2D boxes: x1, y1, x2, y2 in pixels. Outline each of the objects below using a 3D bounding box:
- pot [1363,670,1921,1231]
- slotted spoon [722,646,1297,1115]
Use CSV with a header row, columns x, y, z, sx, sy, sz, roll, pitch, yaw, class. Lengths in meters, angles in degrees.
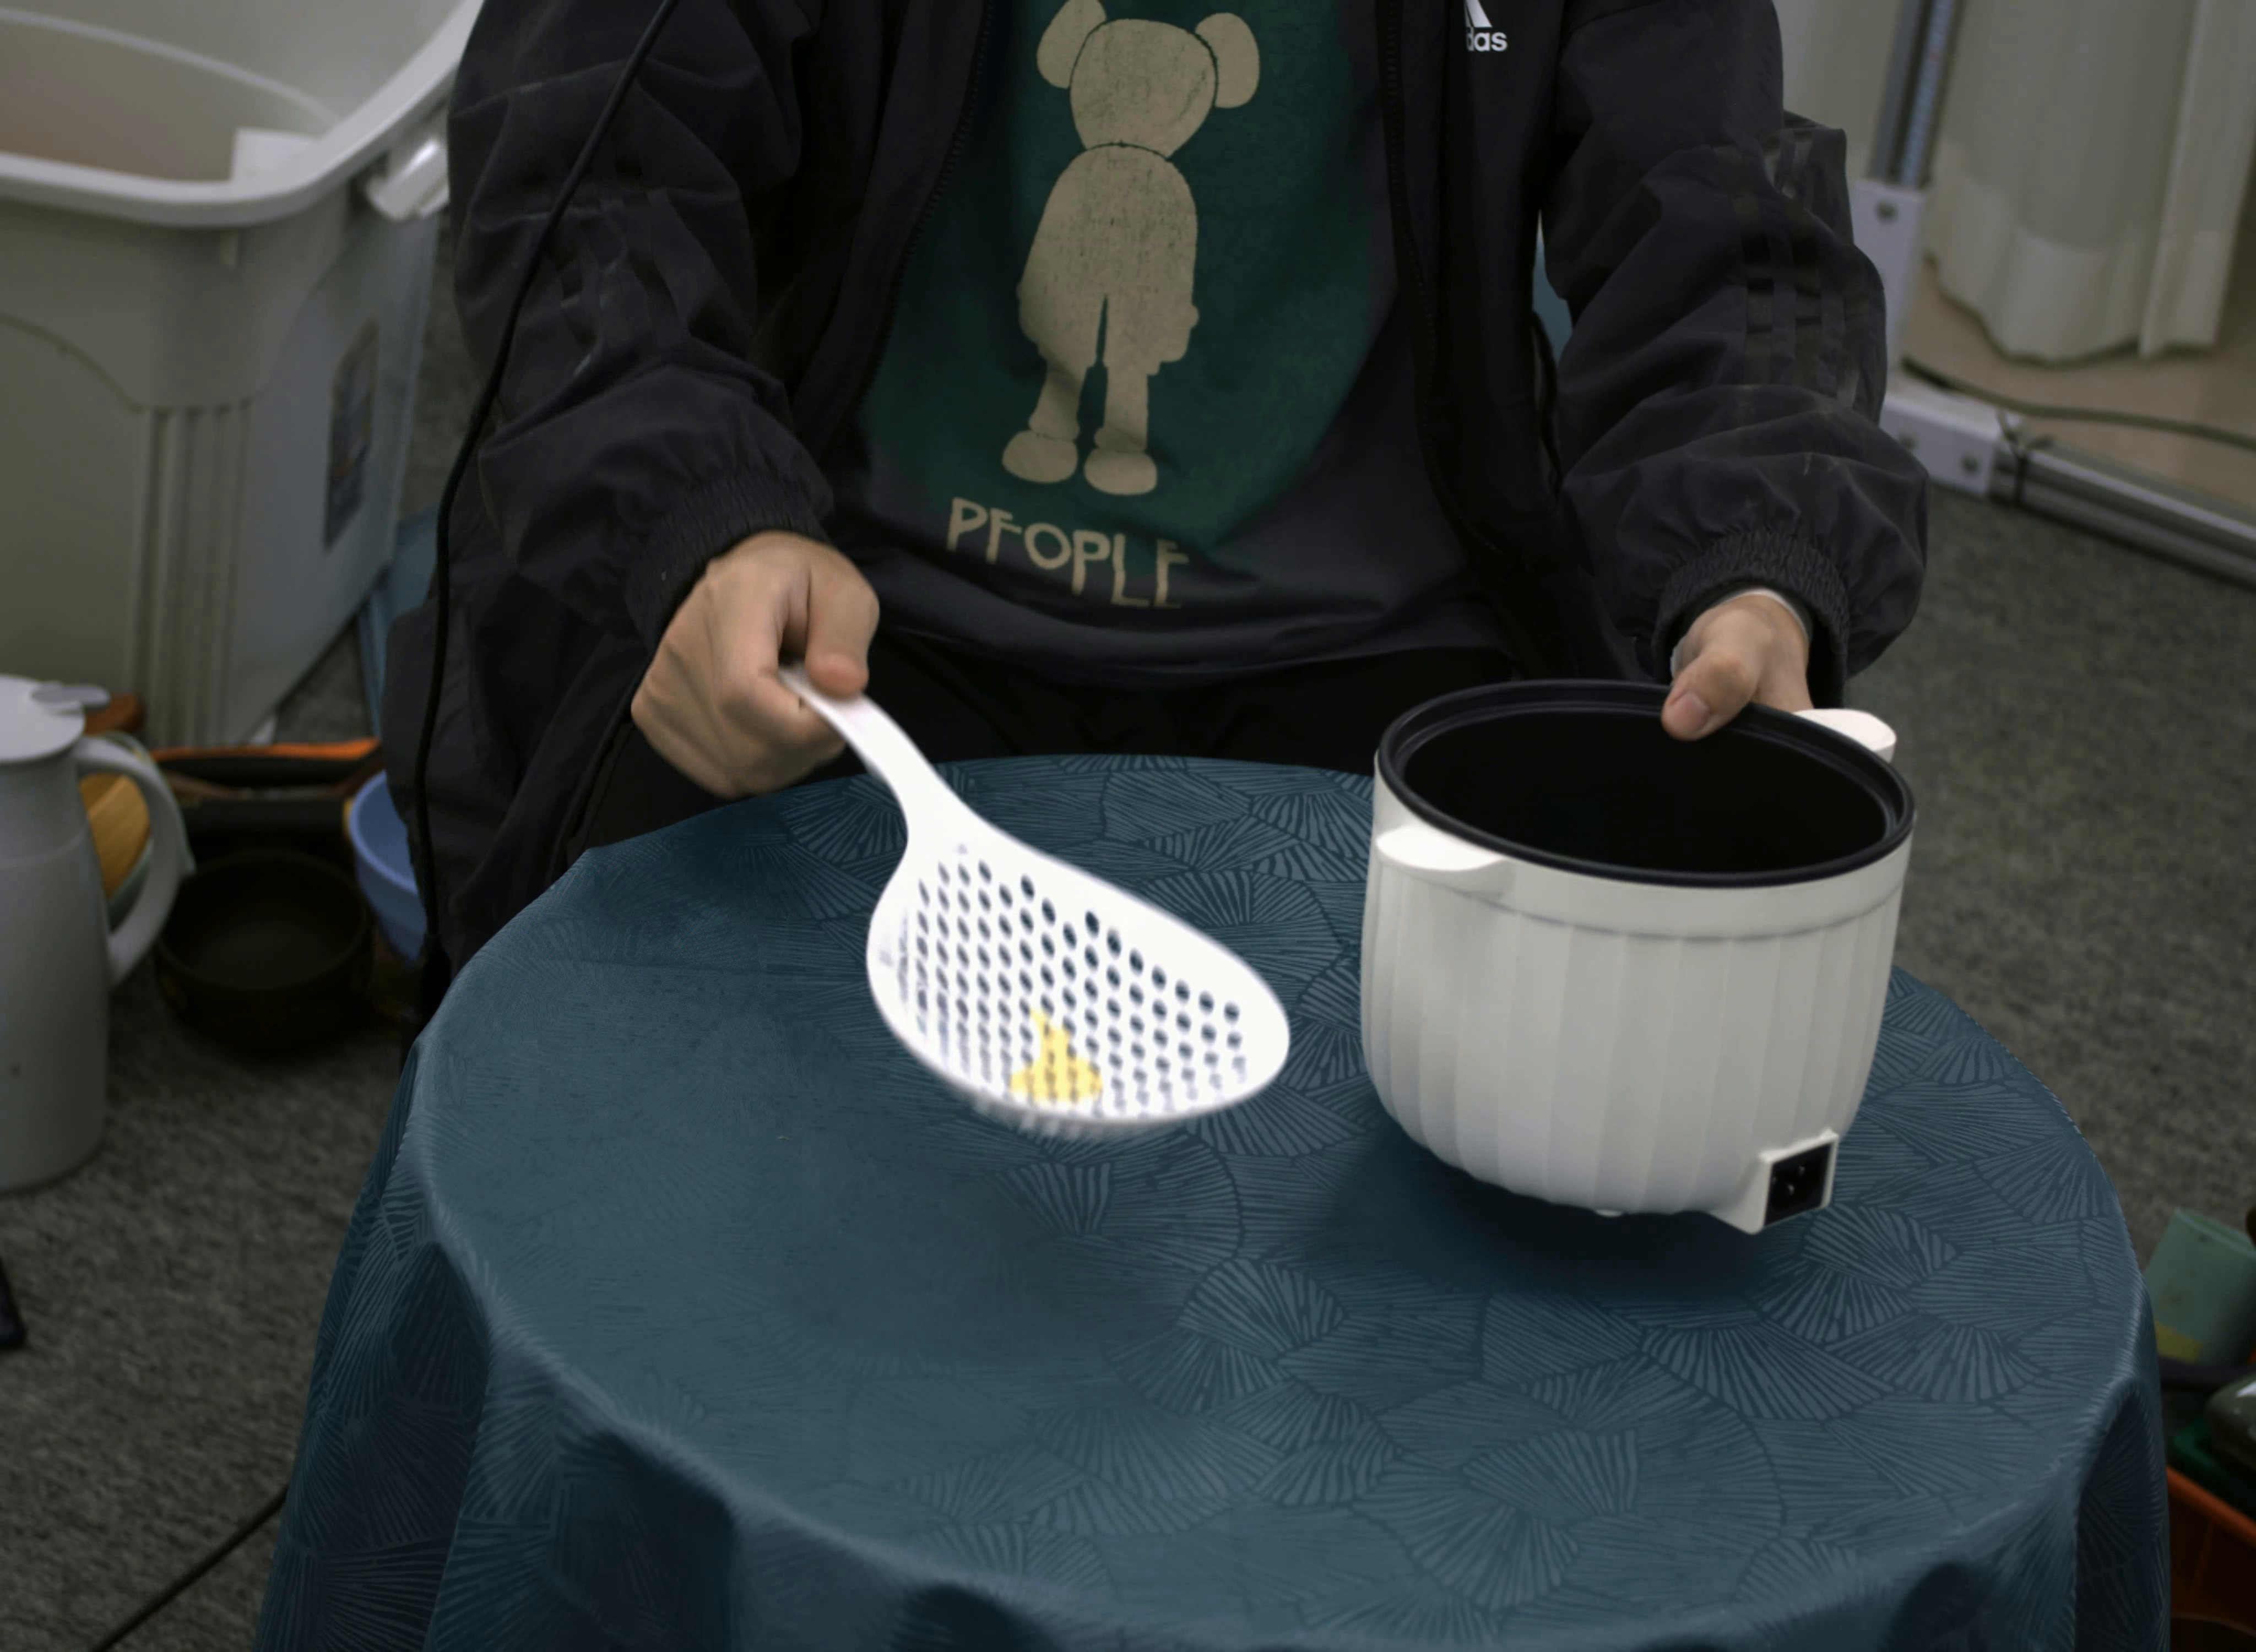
x,y,z,sx,sy,sz,roll,pitch,yaw,class
0.164,0.041,1.806,0.239,0.142,0.192,-14,31,-41,pot
-0.062,0.007,1.814,0.136,0.050,0.351,-6,35,-25,slotted spoon
